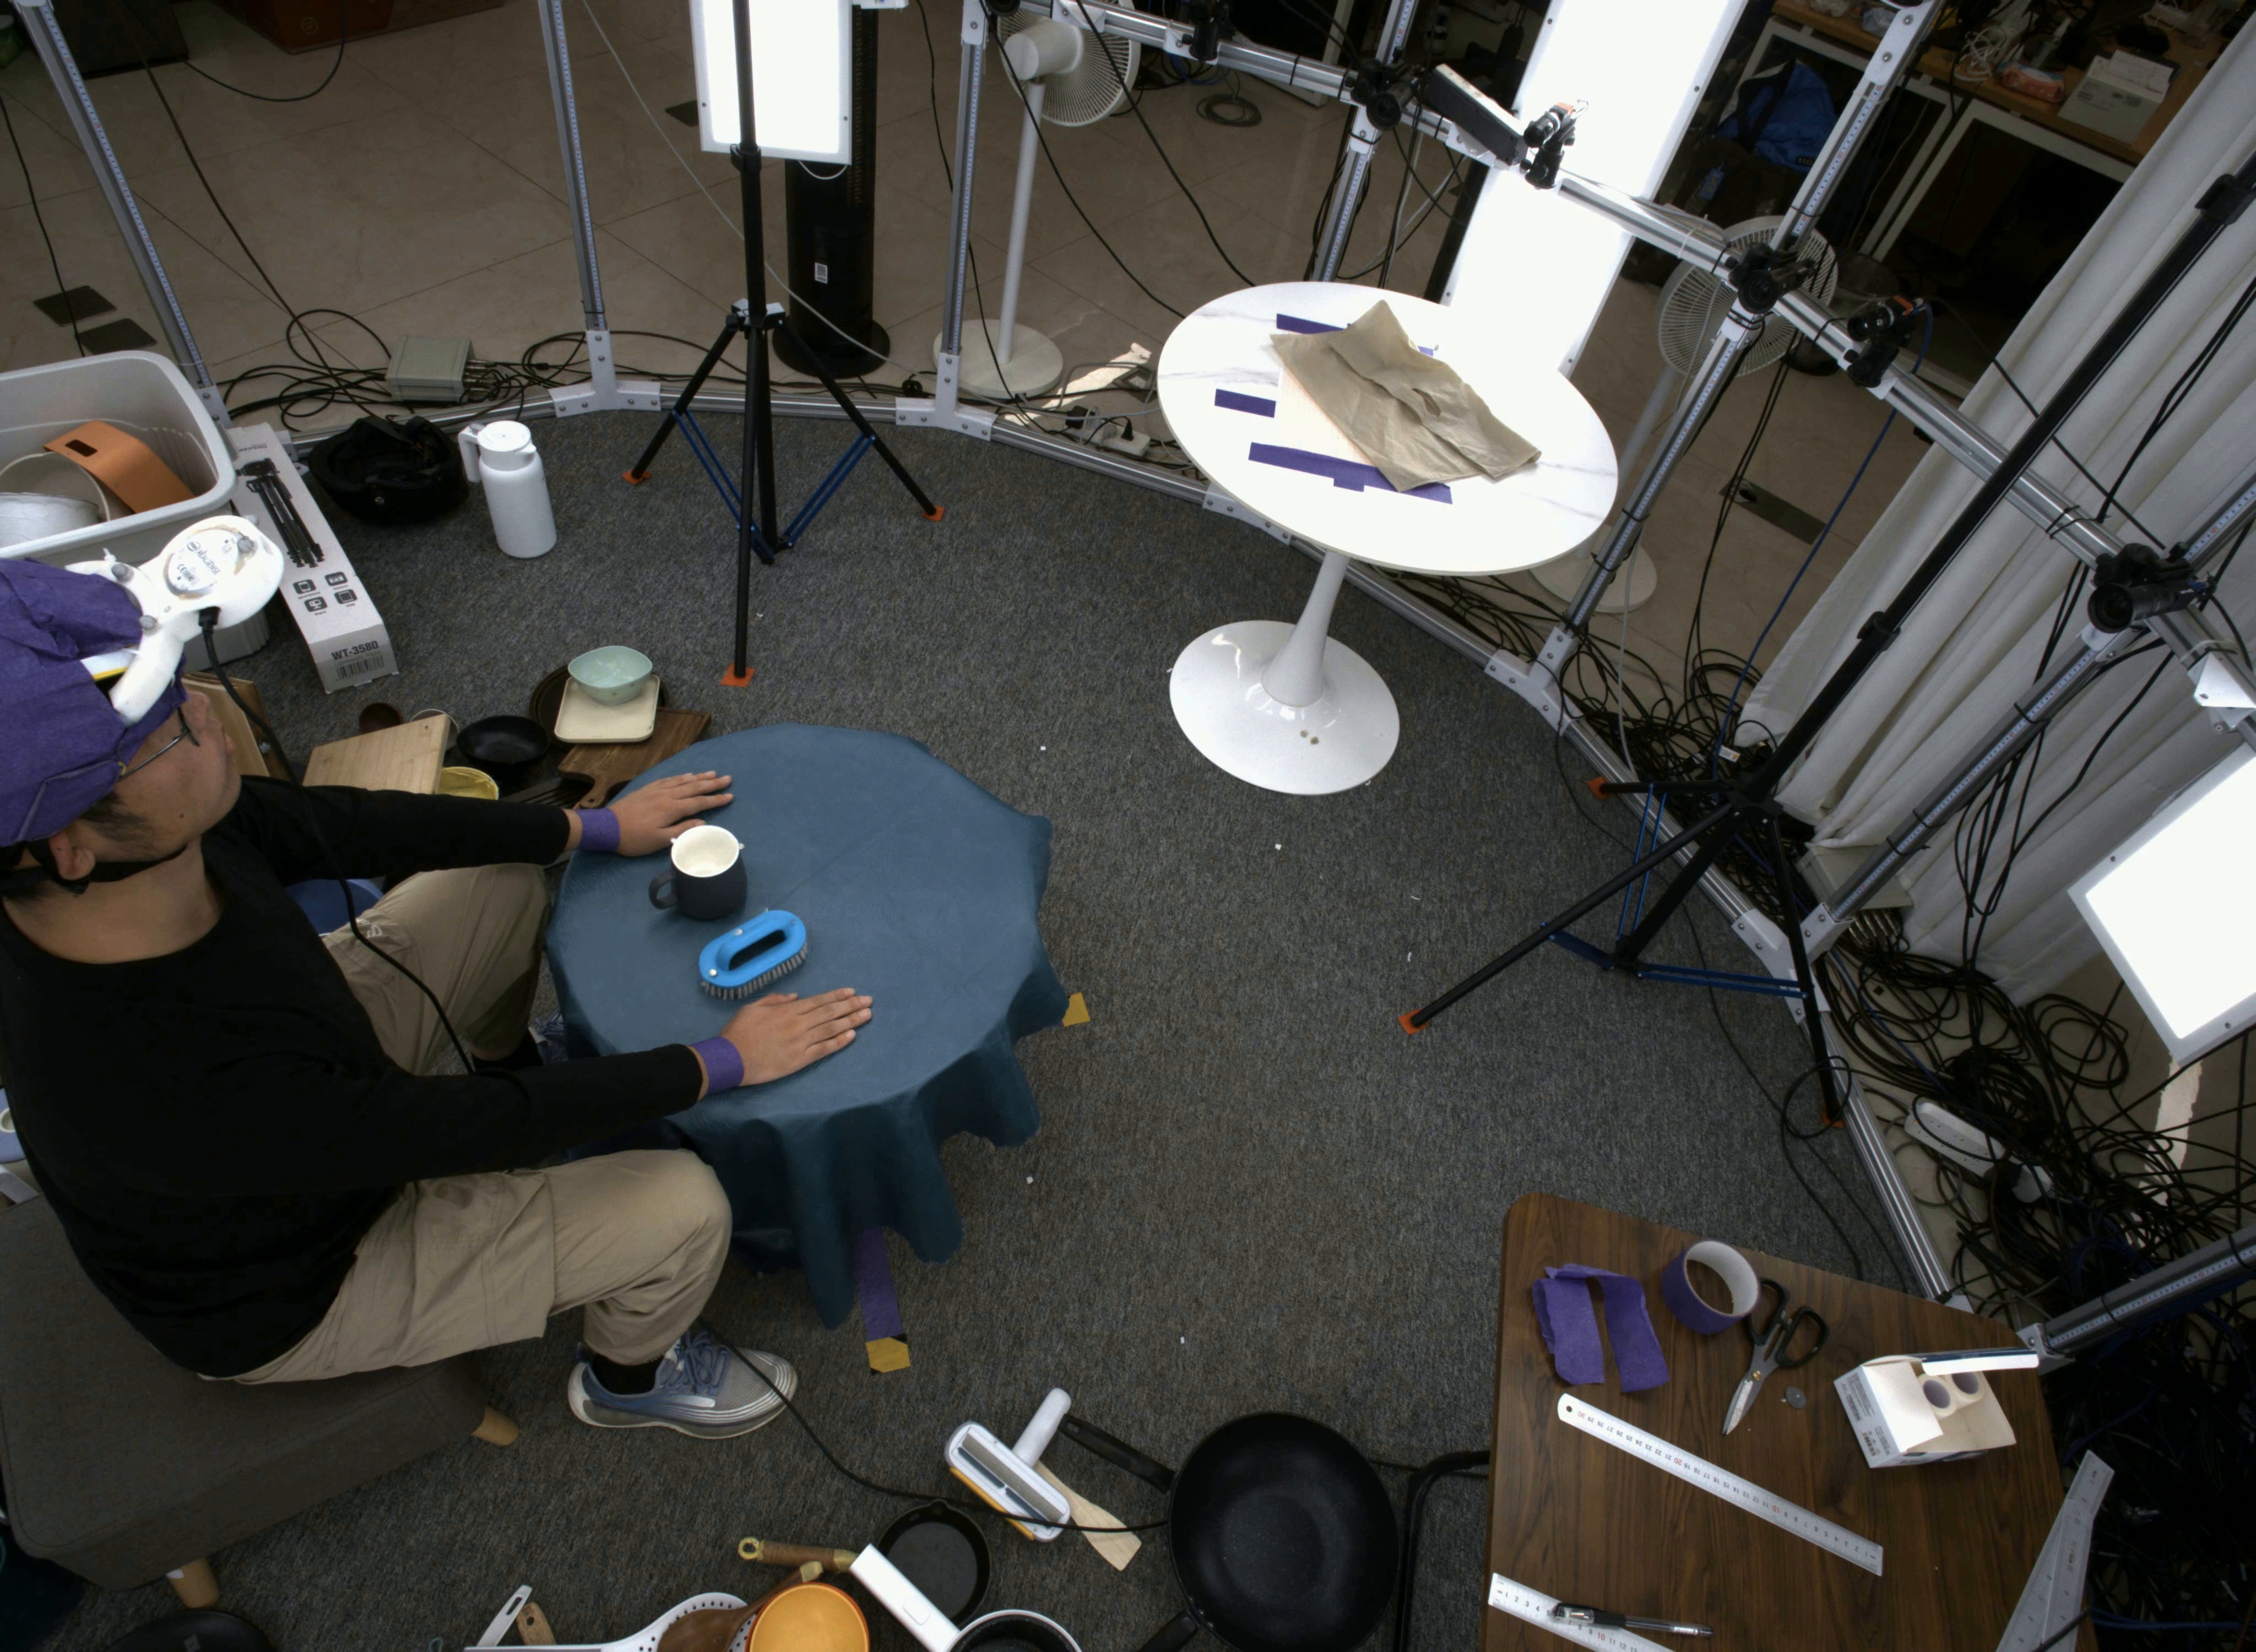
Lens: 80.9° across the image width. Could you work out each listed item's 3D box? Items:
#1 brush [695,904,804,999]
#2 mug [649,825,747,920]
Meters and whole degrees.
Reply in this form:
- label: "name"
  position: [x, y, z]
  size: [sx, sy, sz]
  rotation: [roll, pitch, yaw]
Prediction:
- label: "brush"
  position: [-0.457, 0.144, 1.570]
  size: [0.142, 0.065, 0.083]
  rotation: [-31, 70, -30]
- label: "mug"
  position: [-0.534, 0.060, 1.594]
  size: [0.124, 0.092, 0.091]
  rotation: [-24, 61, -30]
